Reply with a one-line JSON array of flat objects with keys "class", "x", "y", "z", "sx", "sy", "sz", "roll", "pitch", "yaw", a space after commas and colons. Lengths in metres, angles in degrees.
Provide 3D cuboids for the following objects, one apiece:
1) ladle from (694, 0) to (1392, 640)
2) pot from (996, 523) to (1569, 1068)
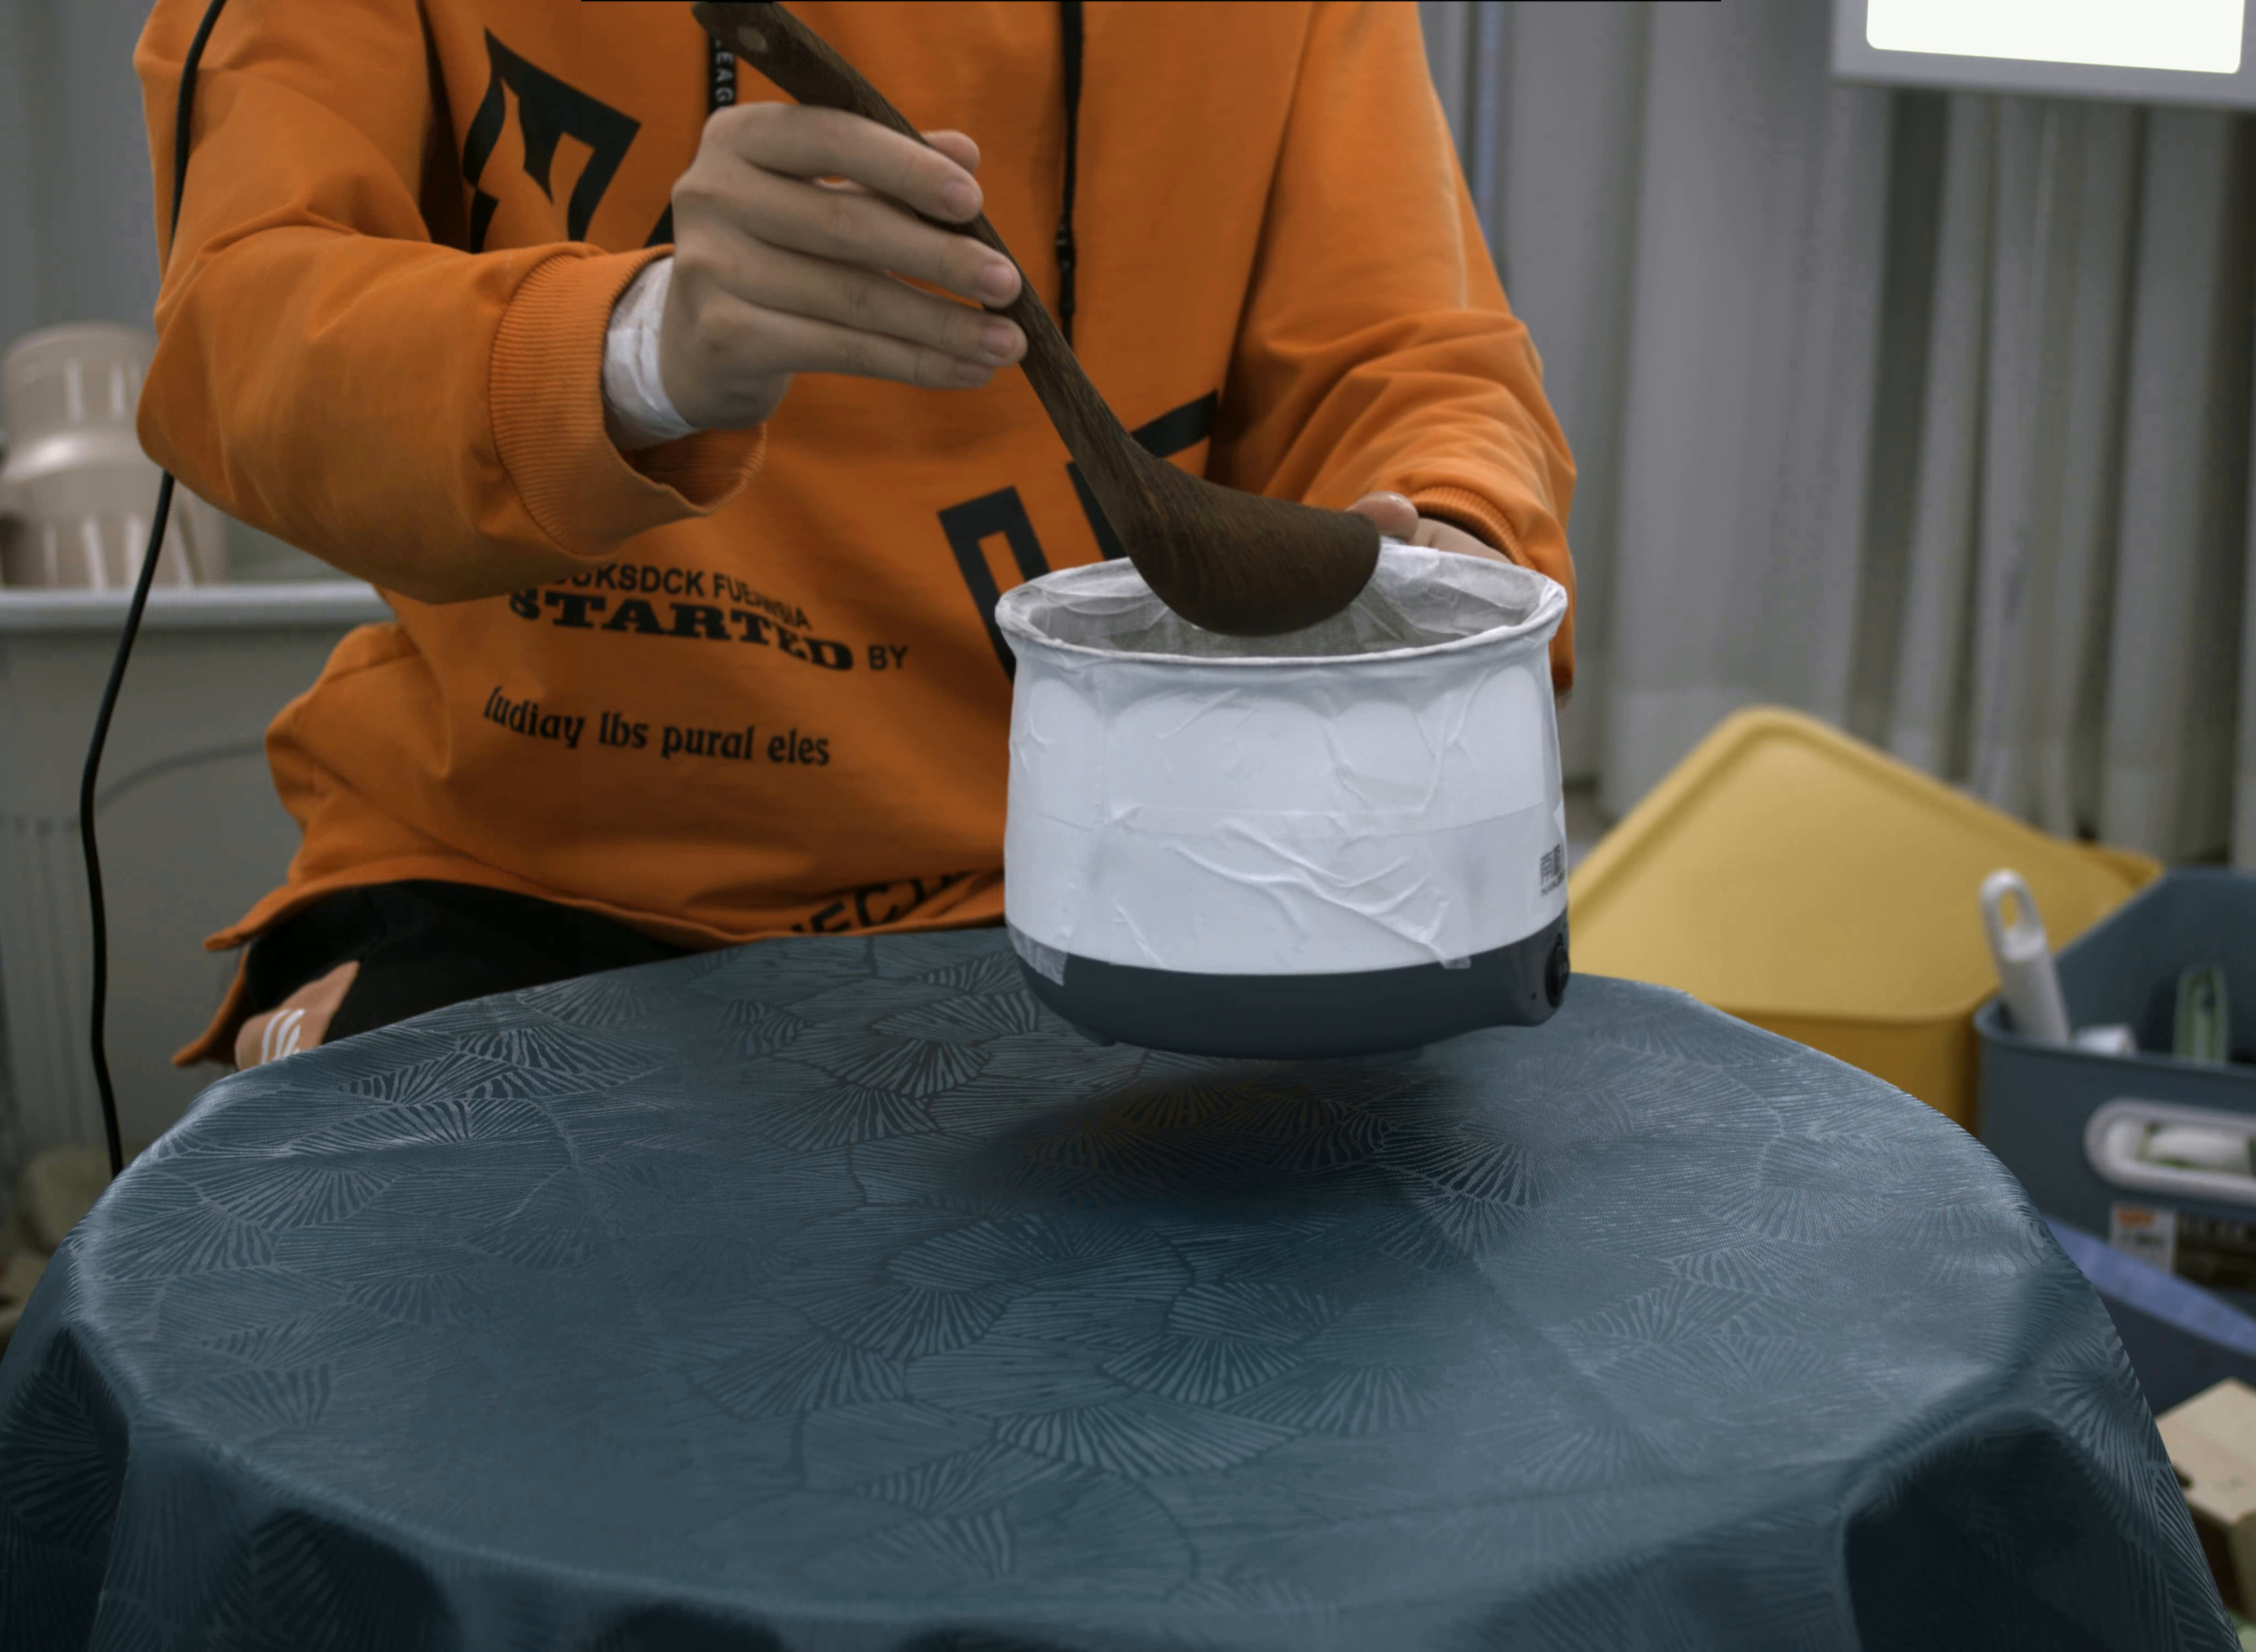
[{"class": "ladle", "x": -0.023, "y": -0.167, "z": 1.620, "sx": 0.076, "sy": 0.275, "sz": 0.071, "roll": -30, "pitch": 13, "yaw": 46}, {"class": "pot", "x": 0.057, "y": -0.015, "z": 1.664, "sx": 0.177, "sy": 0.138, "sz": 0.234, "roll": 4, "pitch": 15, "yaw": 17}]
